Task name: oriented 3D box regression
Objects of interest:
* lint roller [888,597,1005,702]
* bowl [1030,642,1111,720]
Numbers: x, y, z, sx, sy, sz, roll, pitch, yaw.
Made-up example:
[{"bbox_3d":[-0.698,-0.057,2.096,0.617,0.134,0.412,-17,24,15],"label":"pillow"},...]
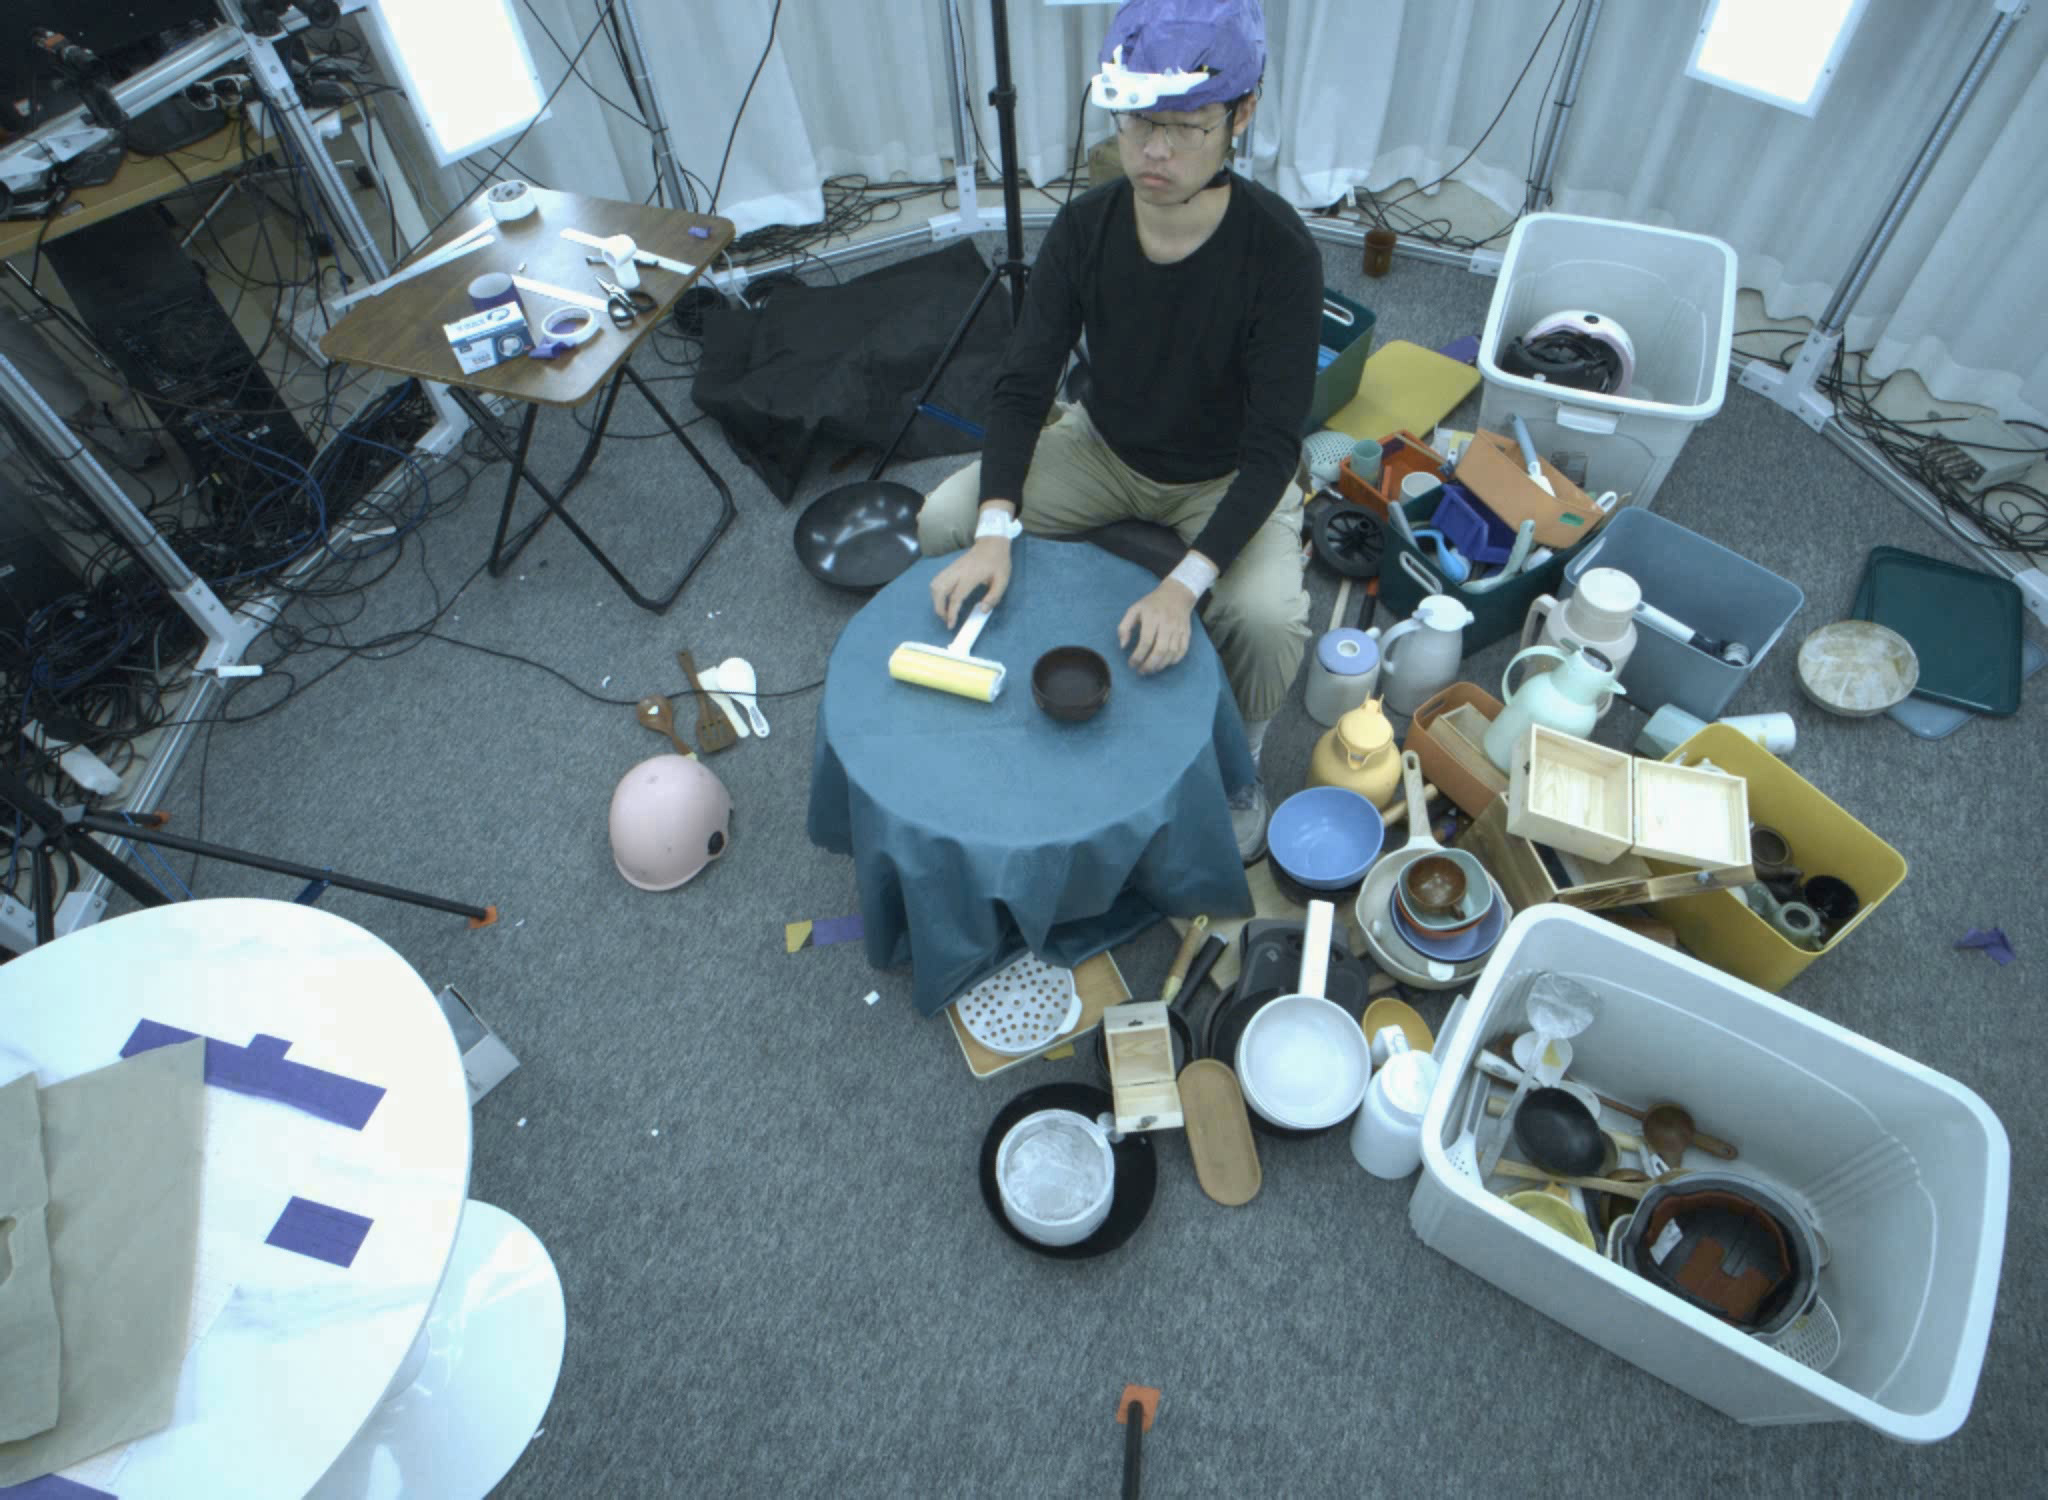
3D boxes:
[{"bbox_3d":[-0.099,-0.171,1.880,0.173,0.052,0.191,14,61,11],"label":"lint roller"},{"bbox_3d":[0.069,-0.093,1.805,0.118,0.070,0.117,-1,56,2],"label":"bowl"}]
